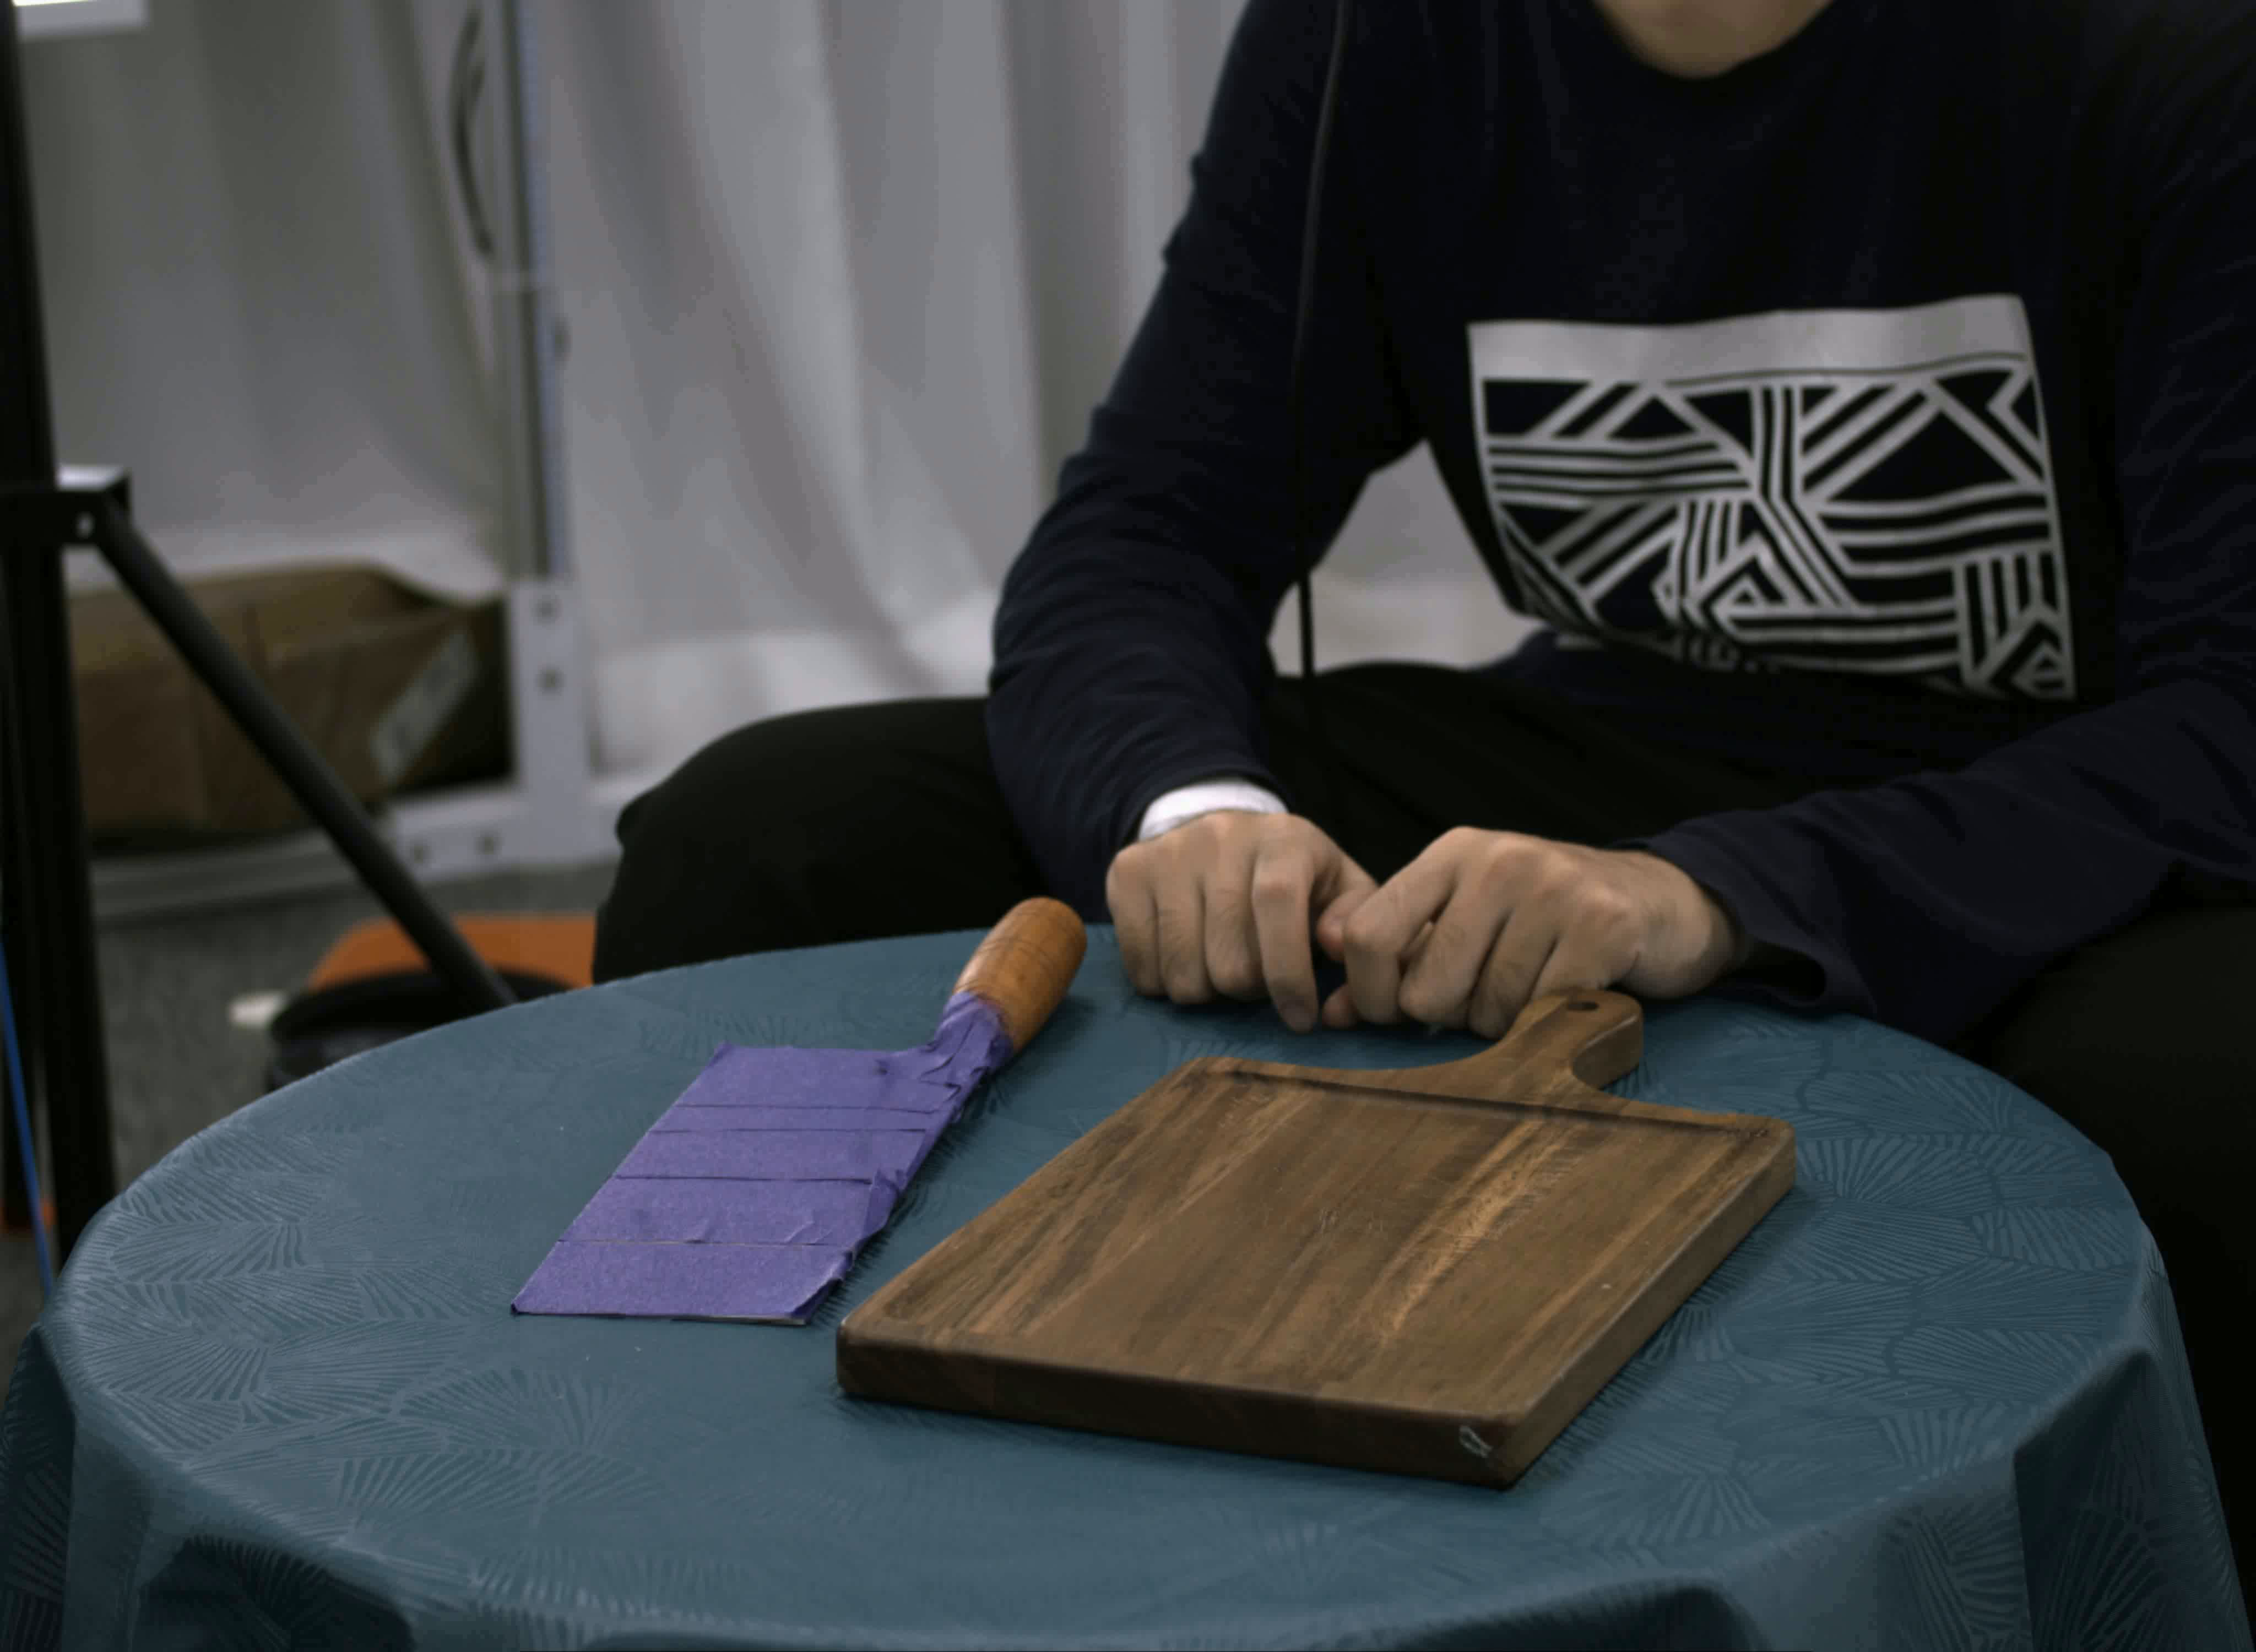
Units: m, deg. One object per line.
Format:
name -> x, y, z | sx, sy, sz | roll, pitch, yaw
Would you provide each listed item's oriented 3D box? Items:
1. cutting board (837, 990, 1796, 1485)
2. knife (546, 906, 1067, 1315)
cutting board -> 0.078, 0.106, 1.519 | 0.204, 0.023, 0.347 | 5, 17, 24
knife -> -0.095, 0.083, 1.616 | 0.104, 0.032, 0.313 | 1, 17, 13
